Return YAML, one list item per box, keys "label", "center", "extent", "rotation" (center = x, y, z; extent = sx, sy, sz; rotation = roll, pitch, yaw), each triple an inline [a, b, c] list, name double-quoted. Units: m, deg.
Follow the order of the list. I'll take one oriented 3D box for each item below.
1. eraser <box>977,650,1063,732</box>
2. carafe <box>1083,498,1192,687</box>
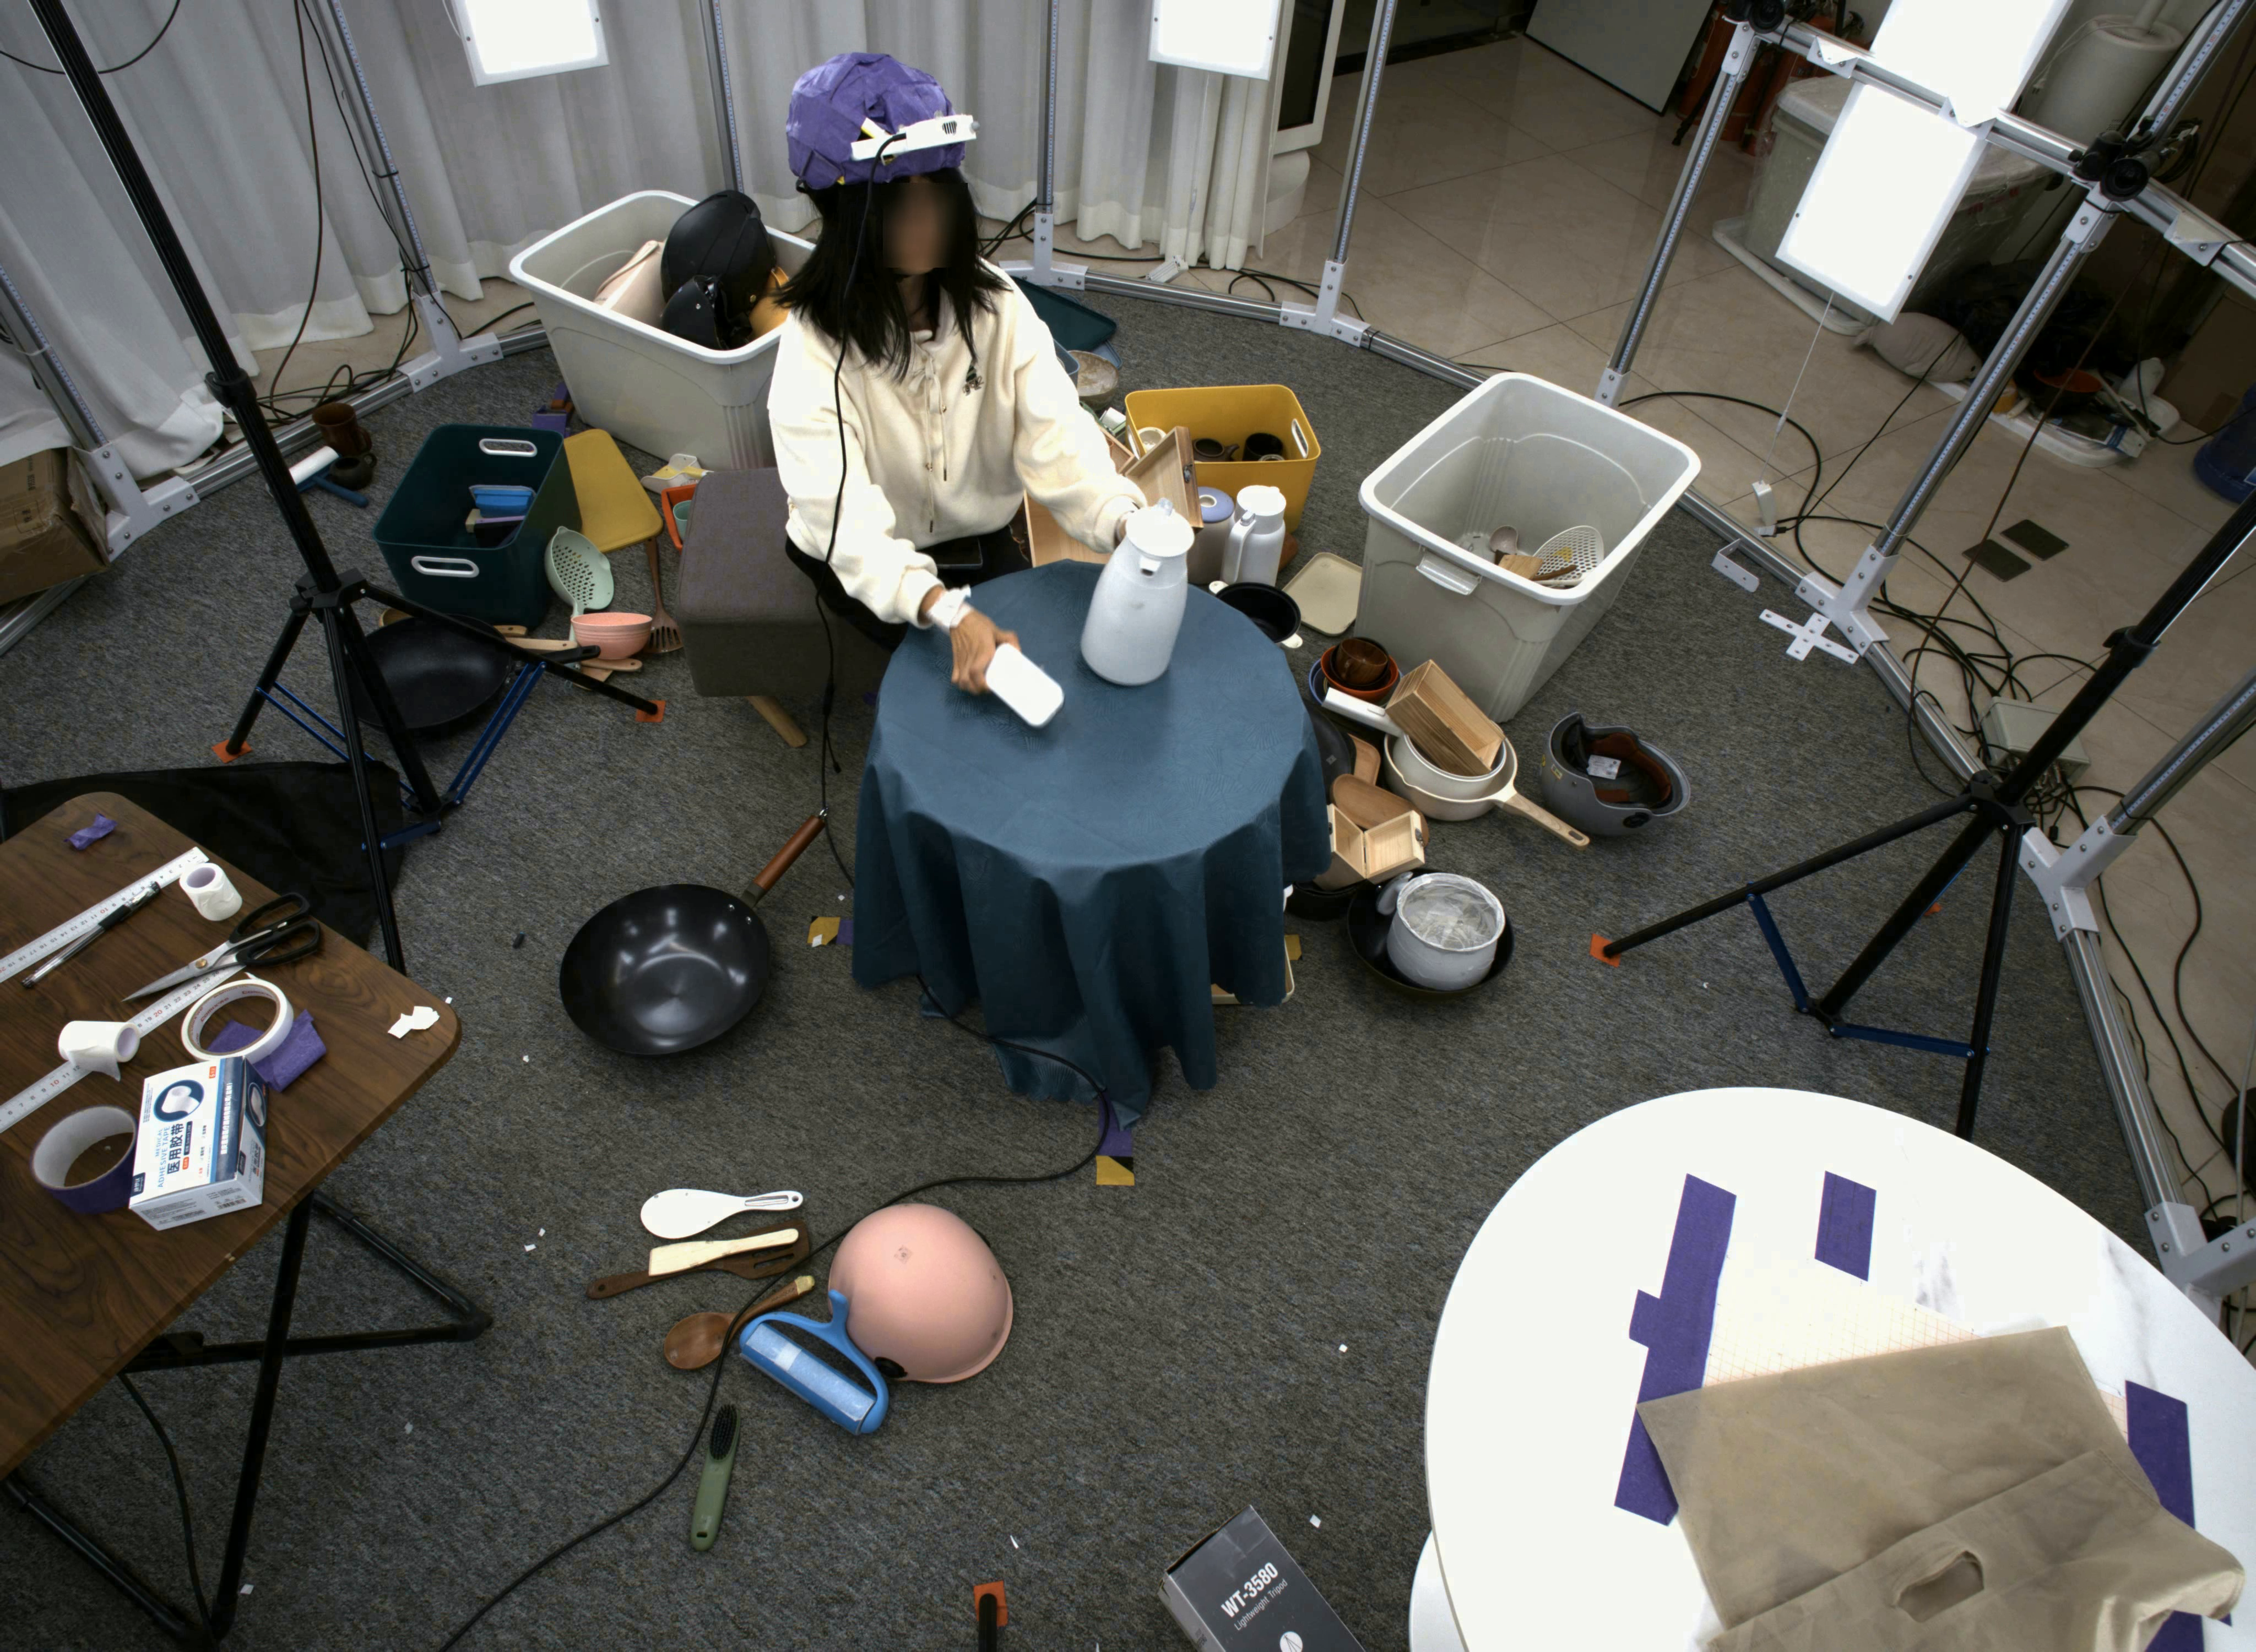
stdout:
- label: "eraser"
  center: [-0.147, -0.188, 1.770]
  extent: [0.063, 0.034, 0.133]
  rotation: [-45, 65, -4]
- label: "carafe"
  center: [0.023, -0.338, 1.793]
  extent: [0.132, 0.243, 0.171]
  rotation: [16, 52, 0]
